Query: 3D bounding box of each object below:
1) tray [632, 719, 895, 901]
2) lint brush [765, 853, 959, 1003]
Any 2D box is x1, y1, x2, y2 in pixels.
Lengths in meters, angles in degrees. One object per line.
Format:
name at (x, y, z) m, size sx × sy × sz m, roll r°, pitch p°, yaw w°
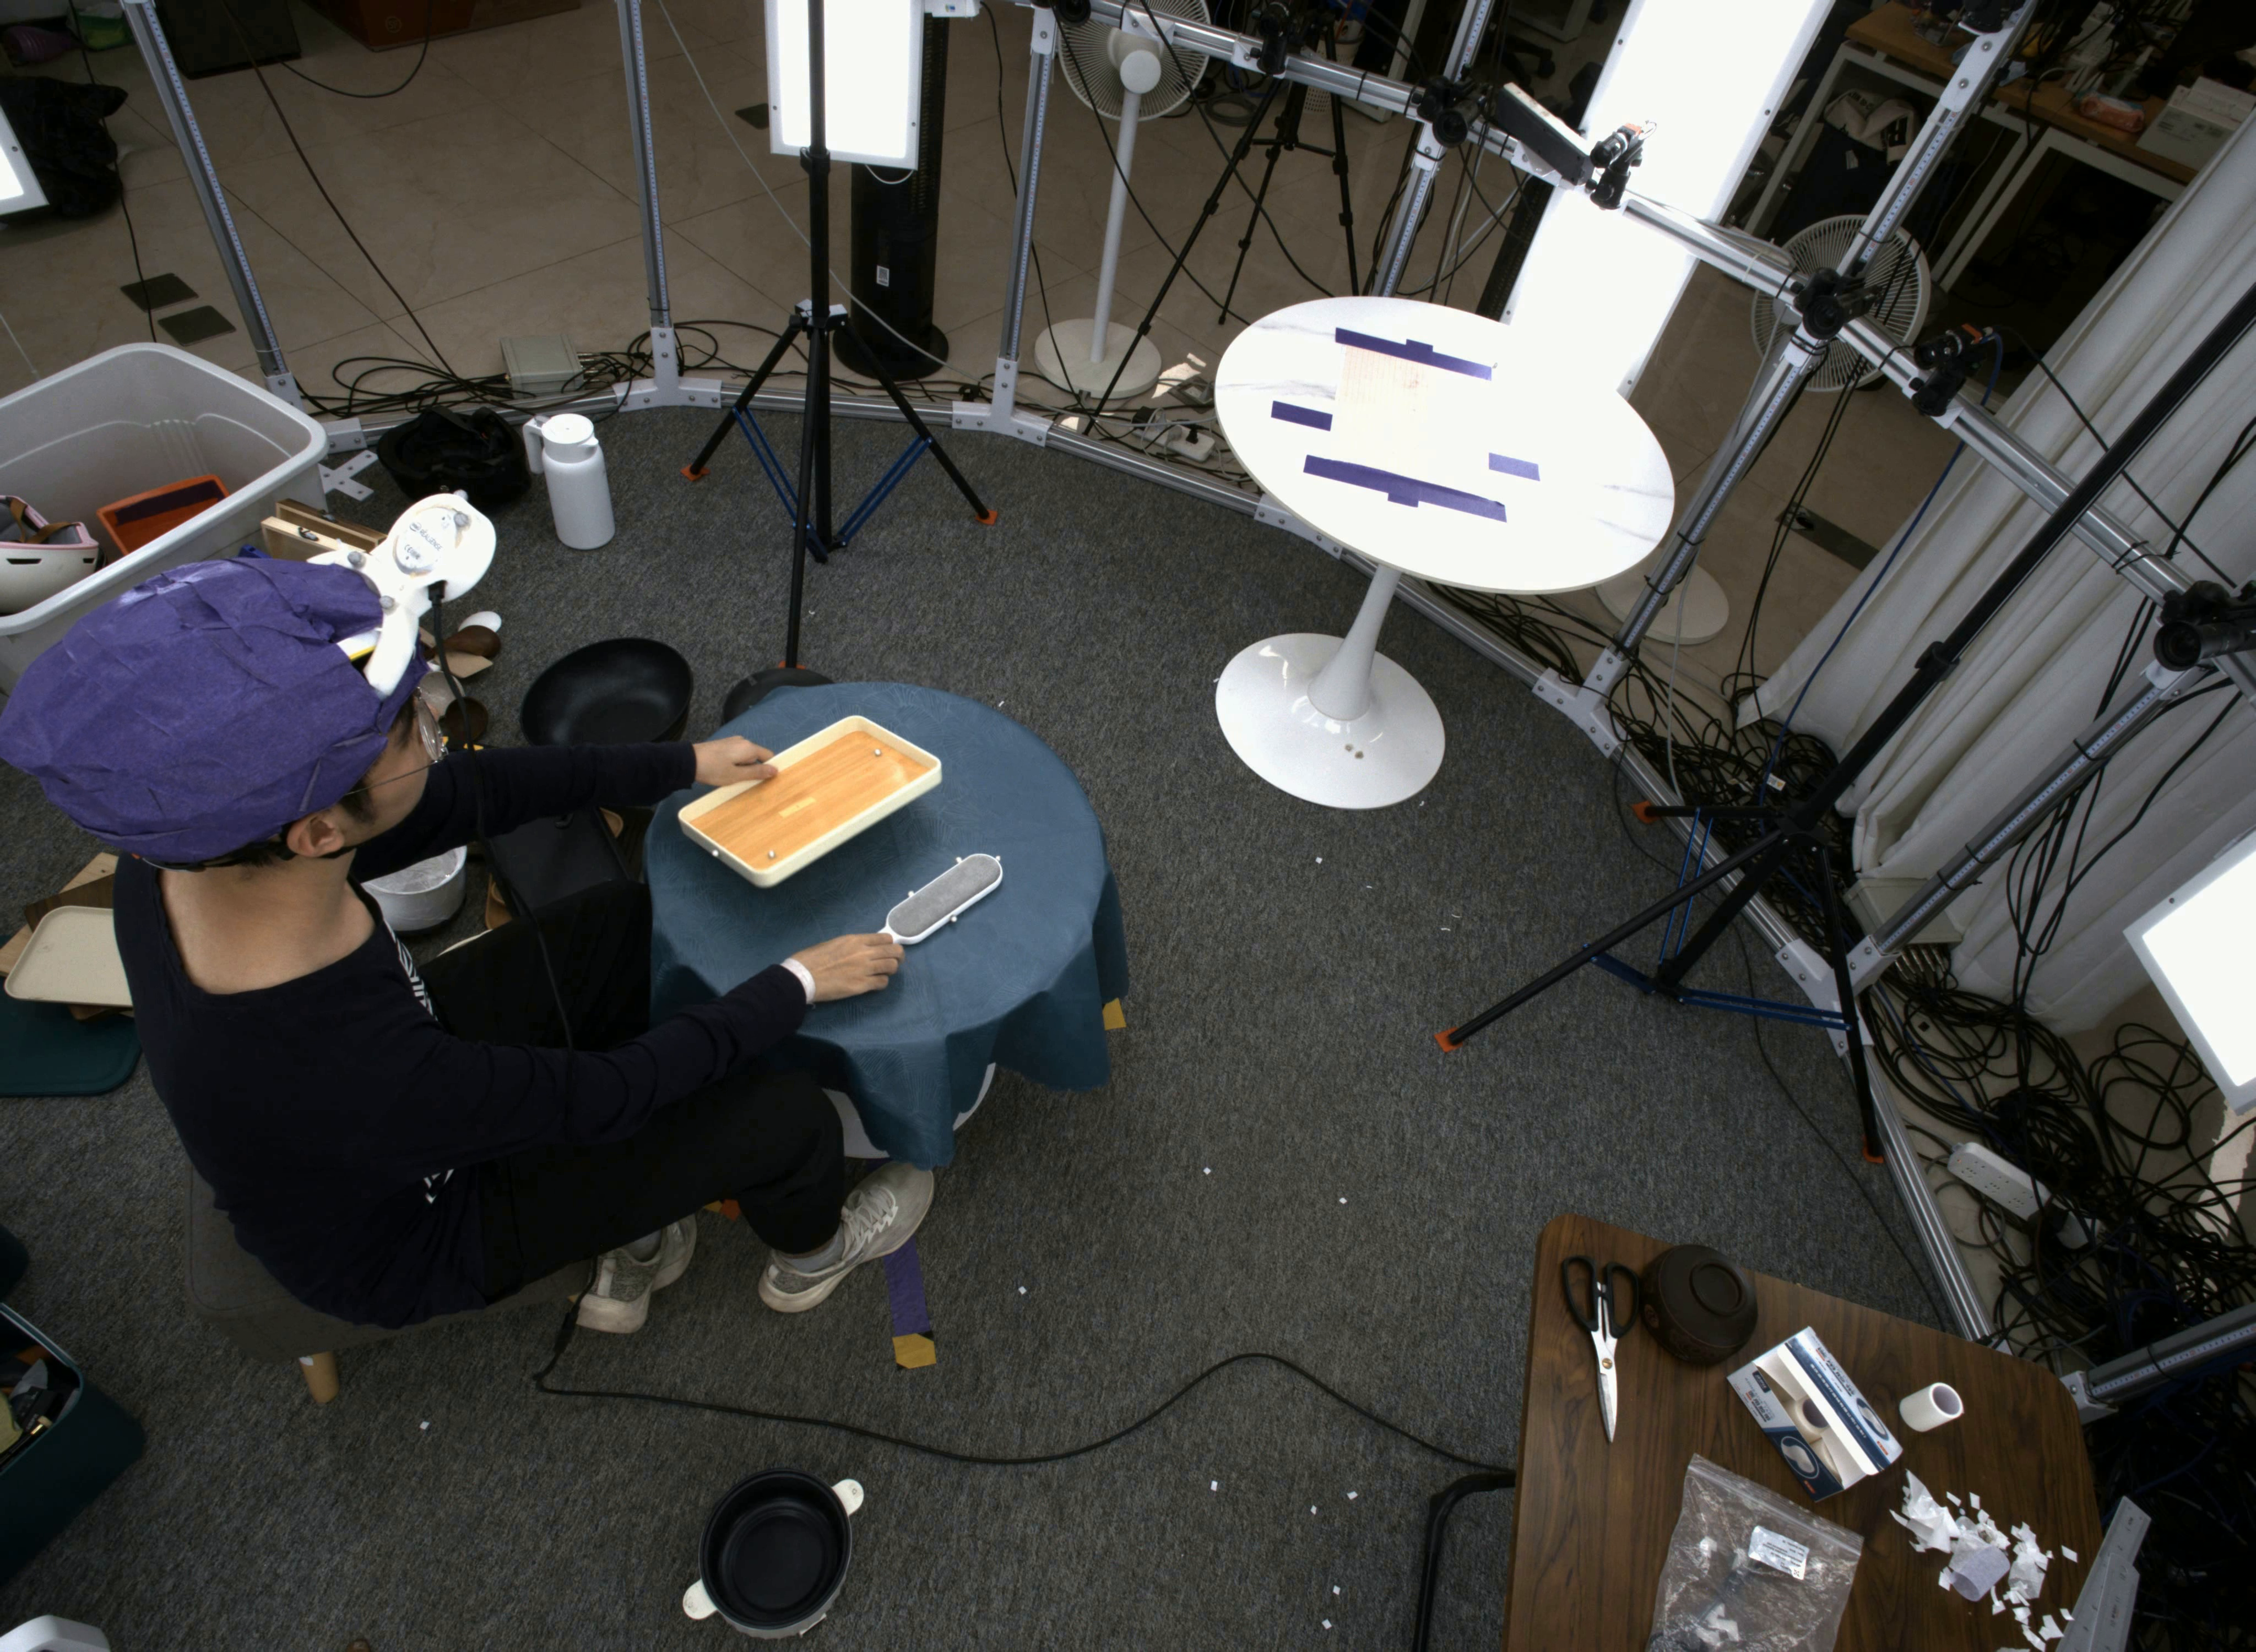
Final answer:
tray at (-0.465, -0.029, 1.660) m, size 0.185 × 0.028 × 0.301 m, roll 28°, pitch 49°, yaw 30°
lint brush at (-0.335, 0.124, 1.648) m, size 0.059 × 0.021 × 0.309 m, roll 44°, pitch 56°, yaw 11°
